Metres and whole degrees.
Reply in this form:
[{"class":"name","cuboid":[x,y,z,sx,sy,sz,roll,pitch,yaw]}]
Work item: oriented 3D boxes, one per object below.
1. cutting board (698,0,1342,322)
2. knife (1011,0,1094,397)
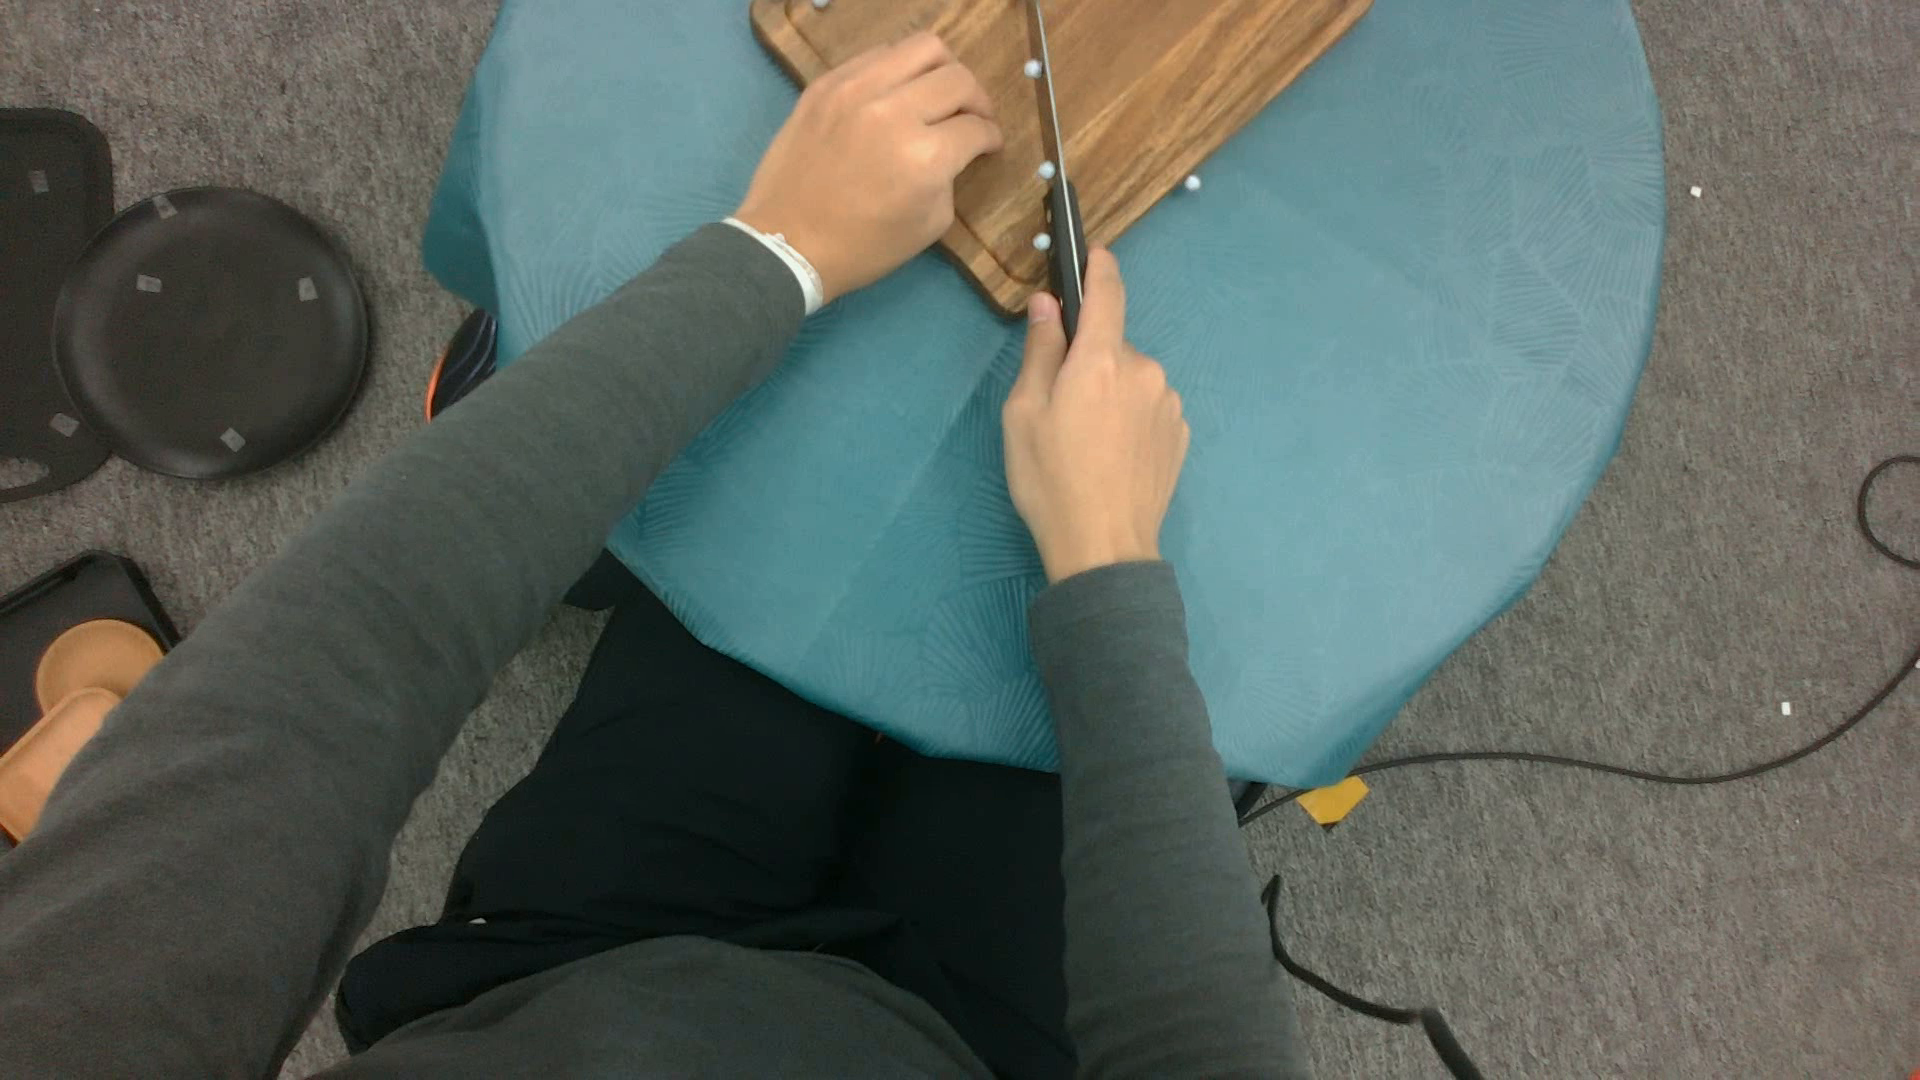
[{"class":"cutting board","cuboid":[0.008,-0.231,0.671,0.352,0.023,0.201,-43,93,-8]},{"class":"knife","cuboid":[0.038,-0.184,0.639,0.016,0.024,0.238,-7,85,-15]}]
